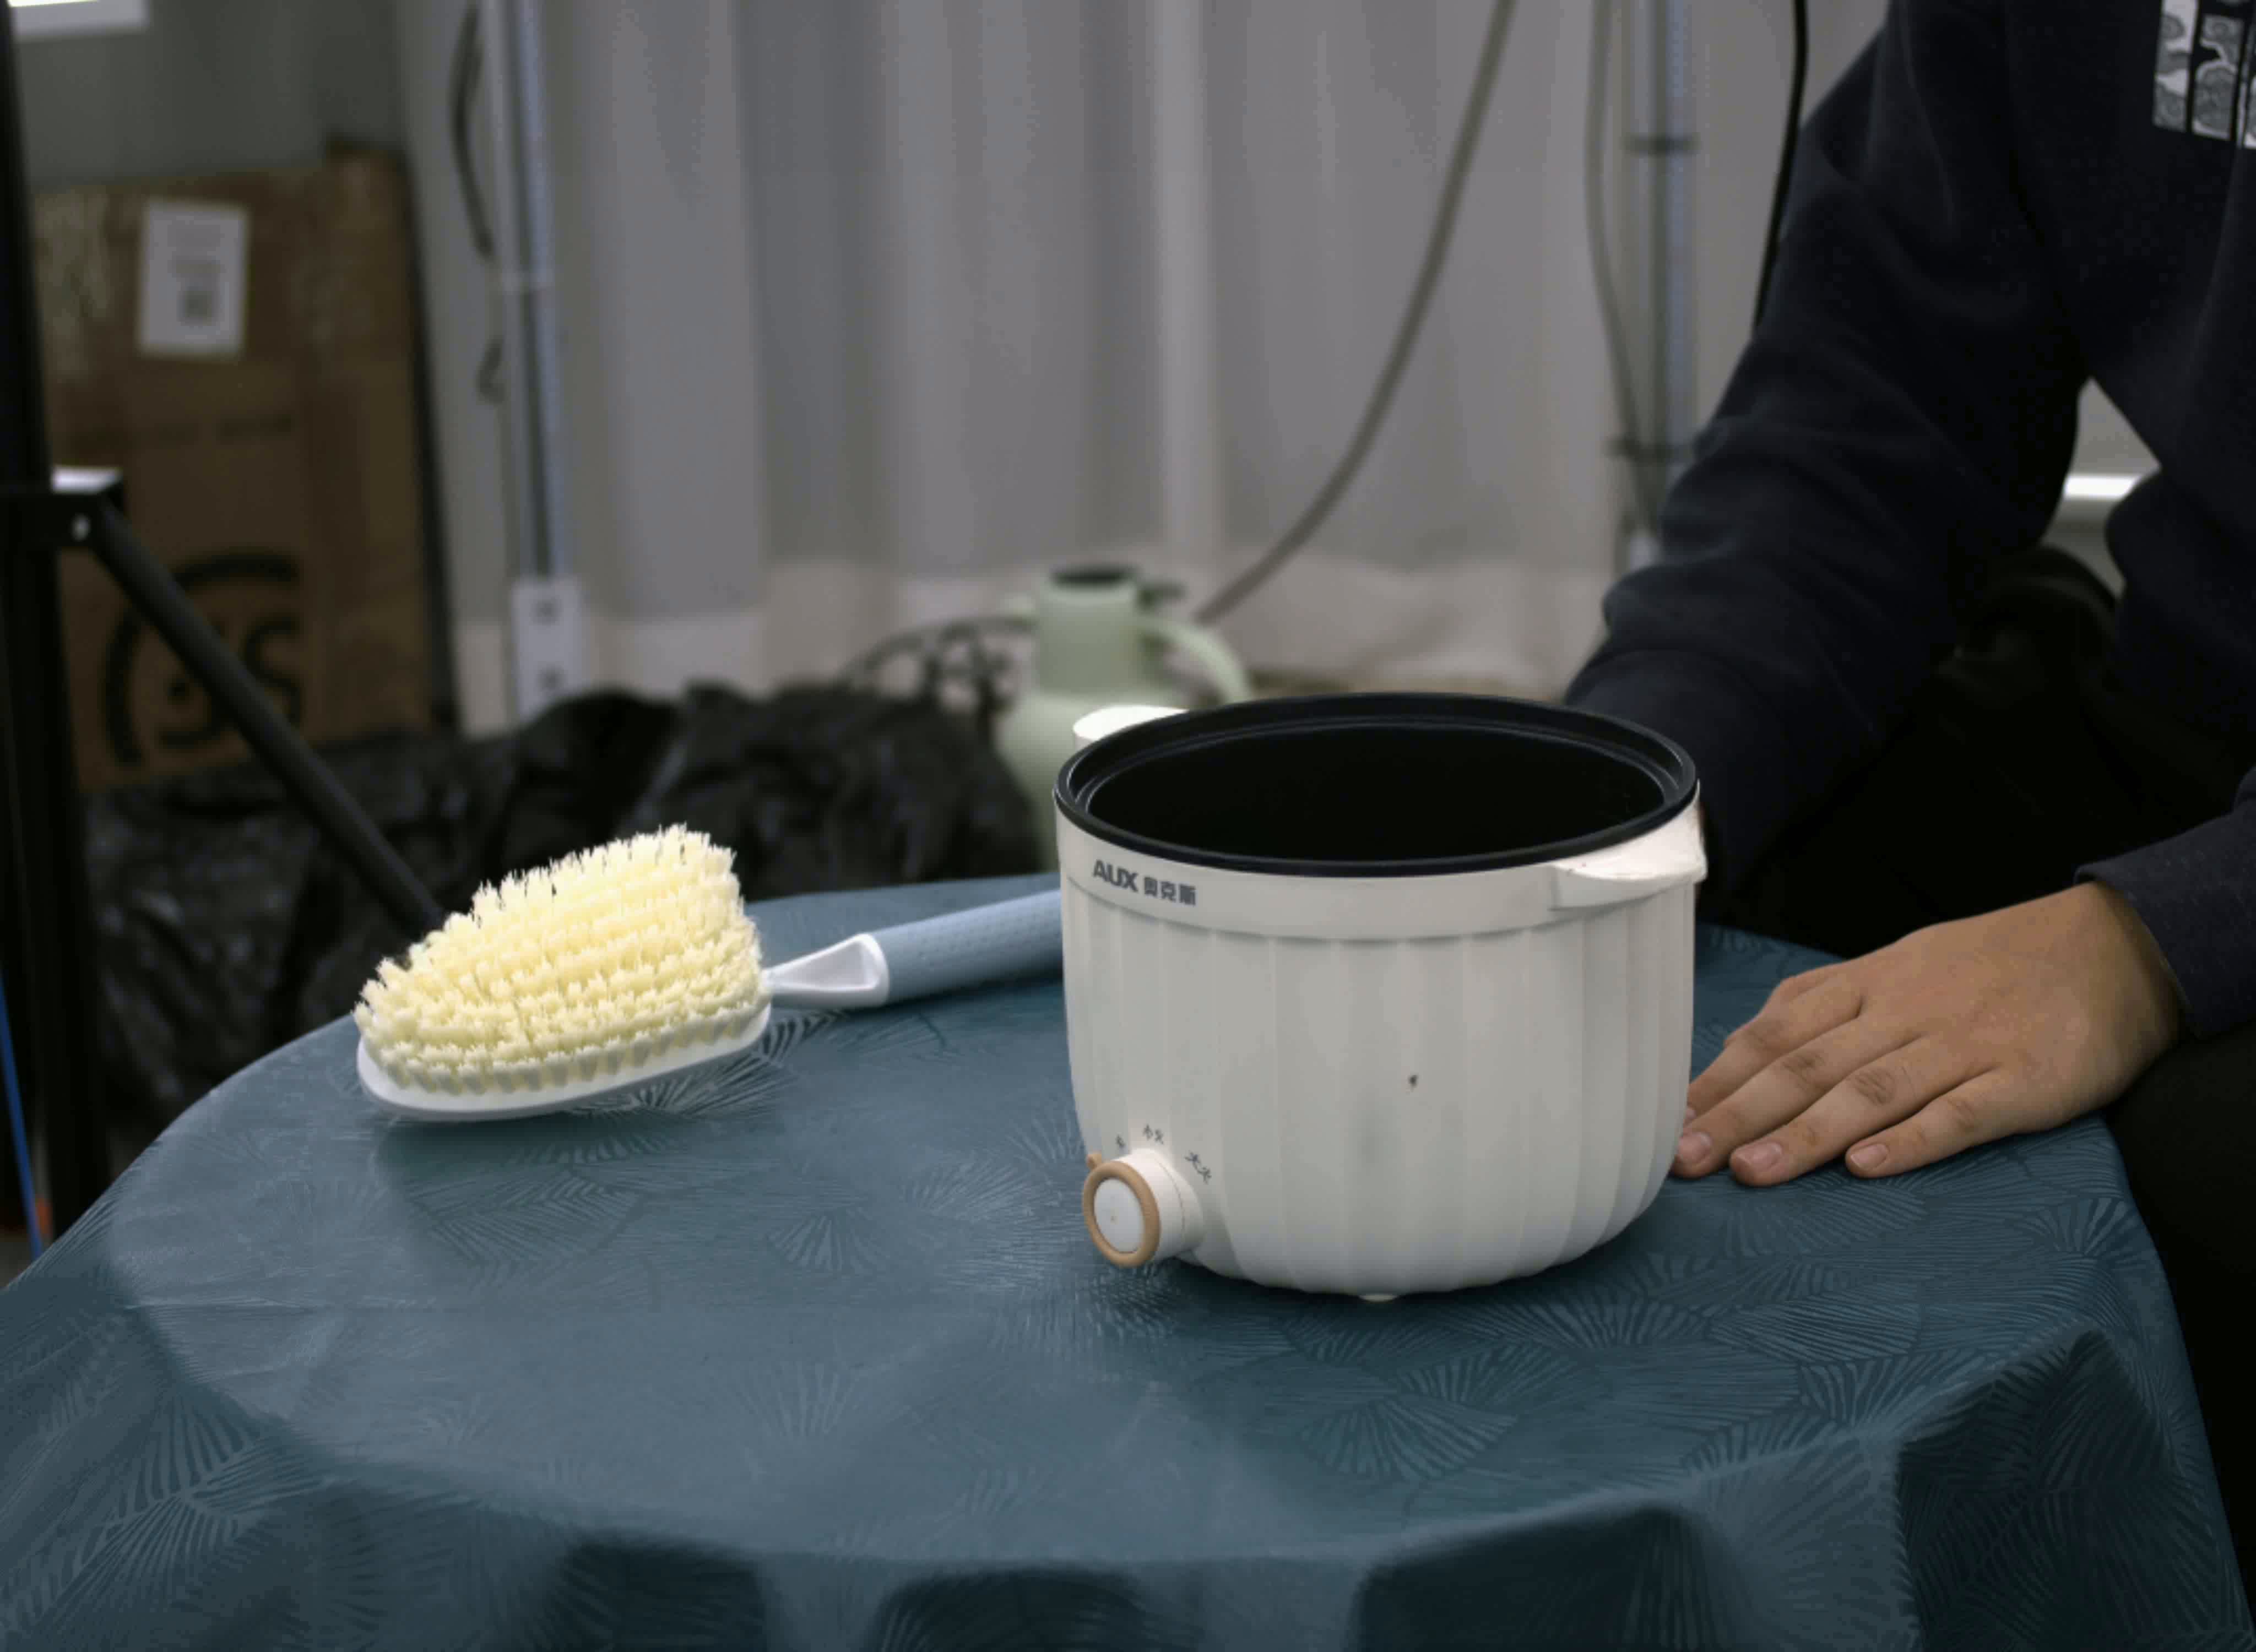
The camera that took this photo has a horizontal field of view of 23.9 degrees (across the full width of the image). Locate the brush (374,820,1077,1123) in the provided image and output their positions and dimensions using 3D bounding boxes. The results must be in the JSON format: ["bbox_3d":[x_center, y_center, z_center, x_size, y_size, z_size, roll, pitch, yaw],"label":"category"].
[{"bbox_3d":[-0.089,0.029,1.698,0.318,0.083,0.086,-13,13,-28],"label":"brush"}]

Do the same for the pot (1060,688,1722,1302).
[{"bbox_3d":[0.069,0.050,1.498,0.186,0.143,0.246,-11,17,-39],"label":"pot"}]
